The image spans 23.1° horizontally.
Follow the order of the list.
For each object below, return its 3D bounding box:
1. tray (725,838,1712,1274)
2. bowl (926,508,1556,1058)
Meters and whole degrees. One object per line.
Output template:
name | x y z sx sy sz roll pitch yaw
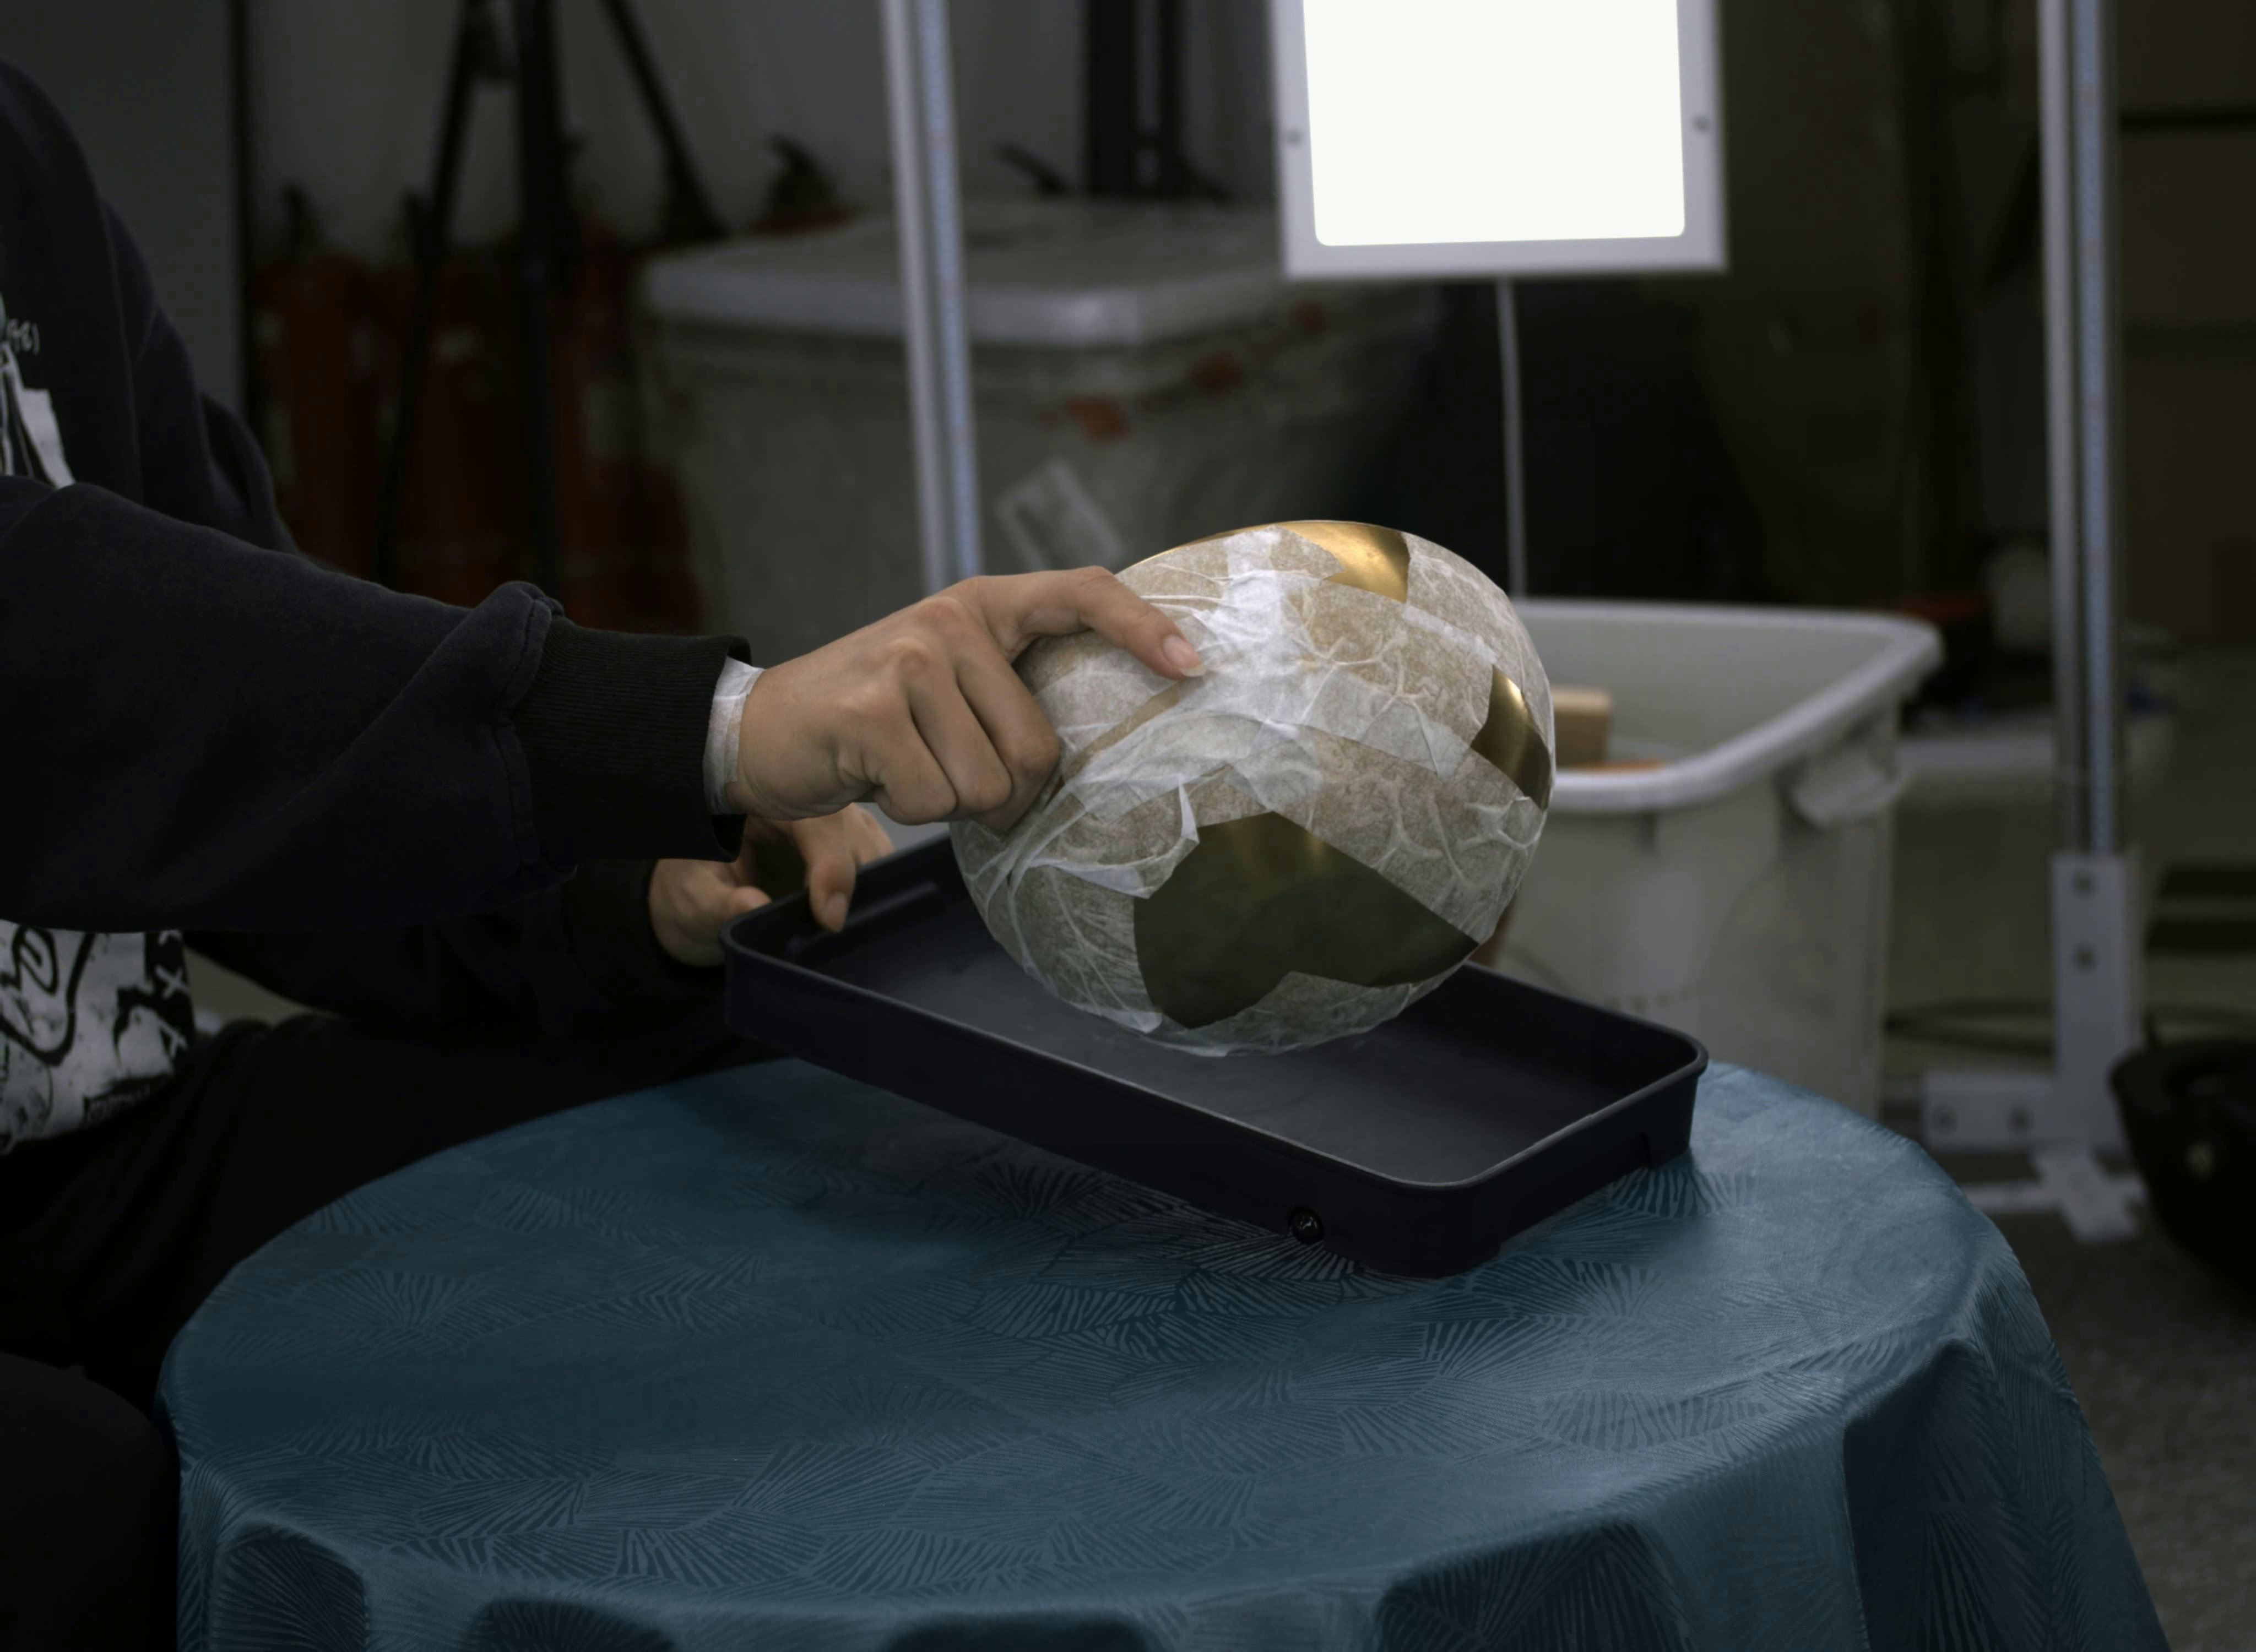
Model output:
tray | 0.029 0.070 1.916 0.324 0.037 0.180 18 26 35
bowl | 0.046 0.008 1.764 0.212 0.216 0.095 -7 46 -12
